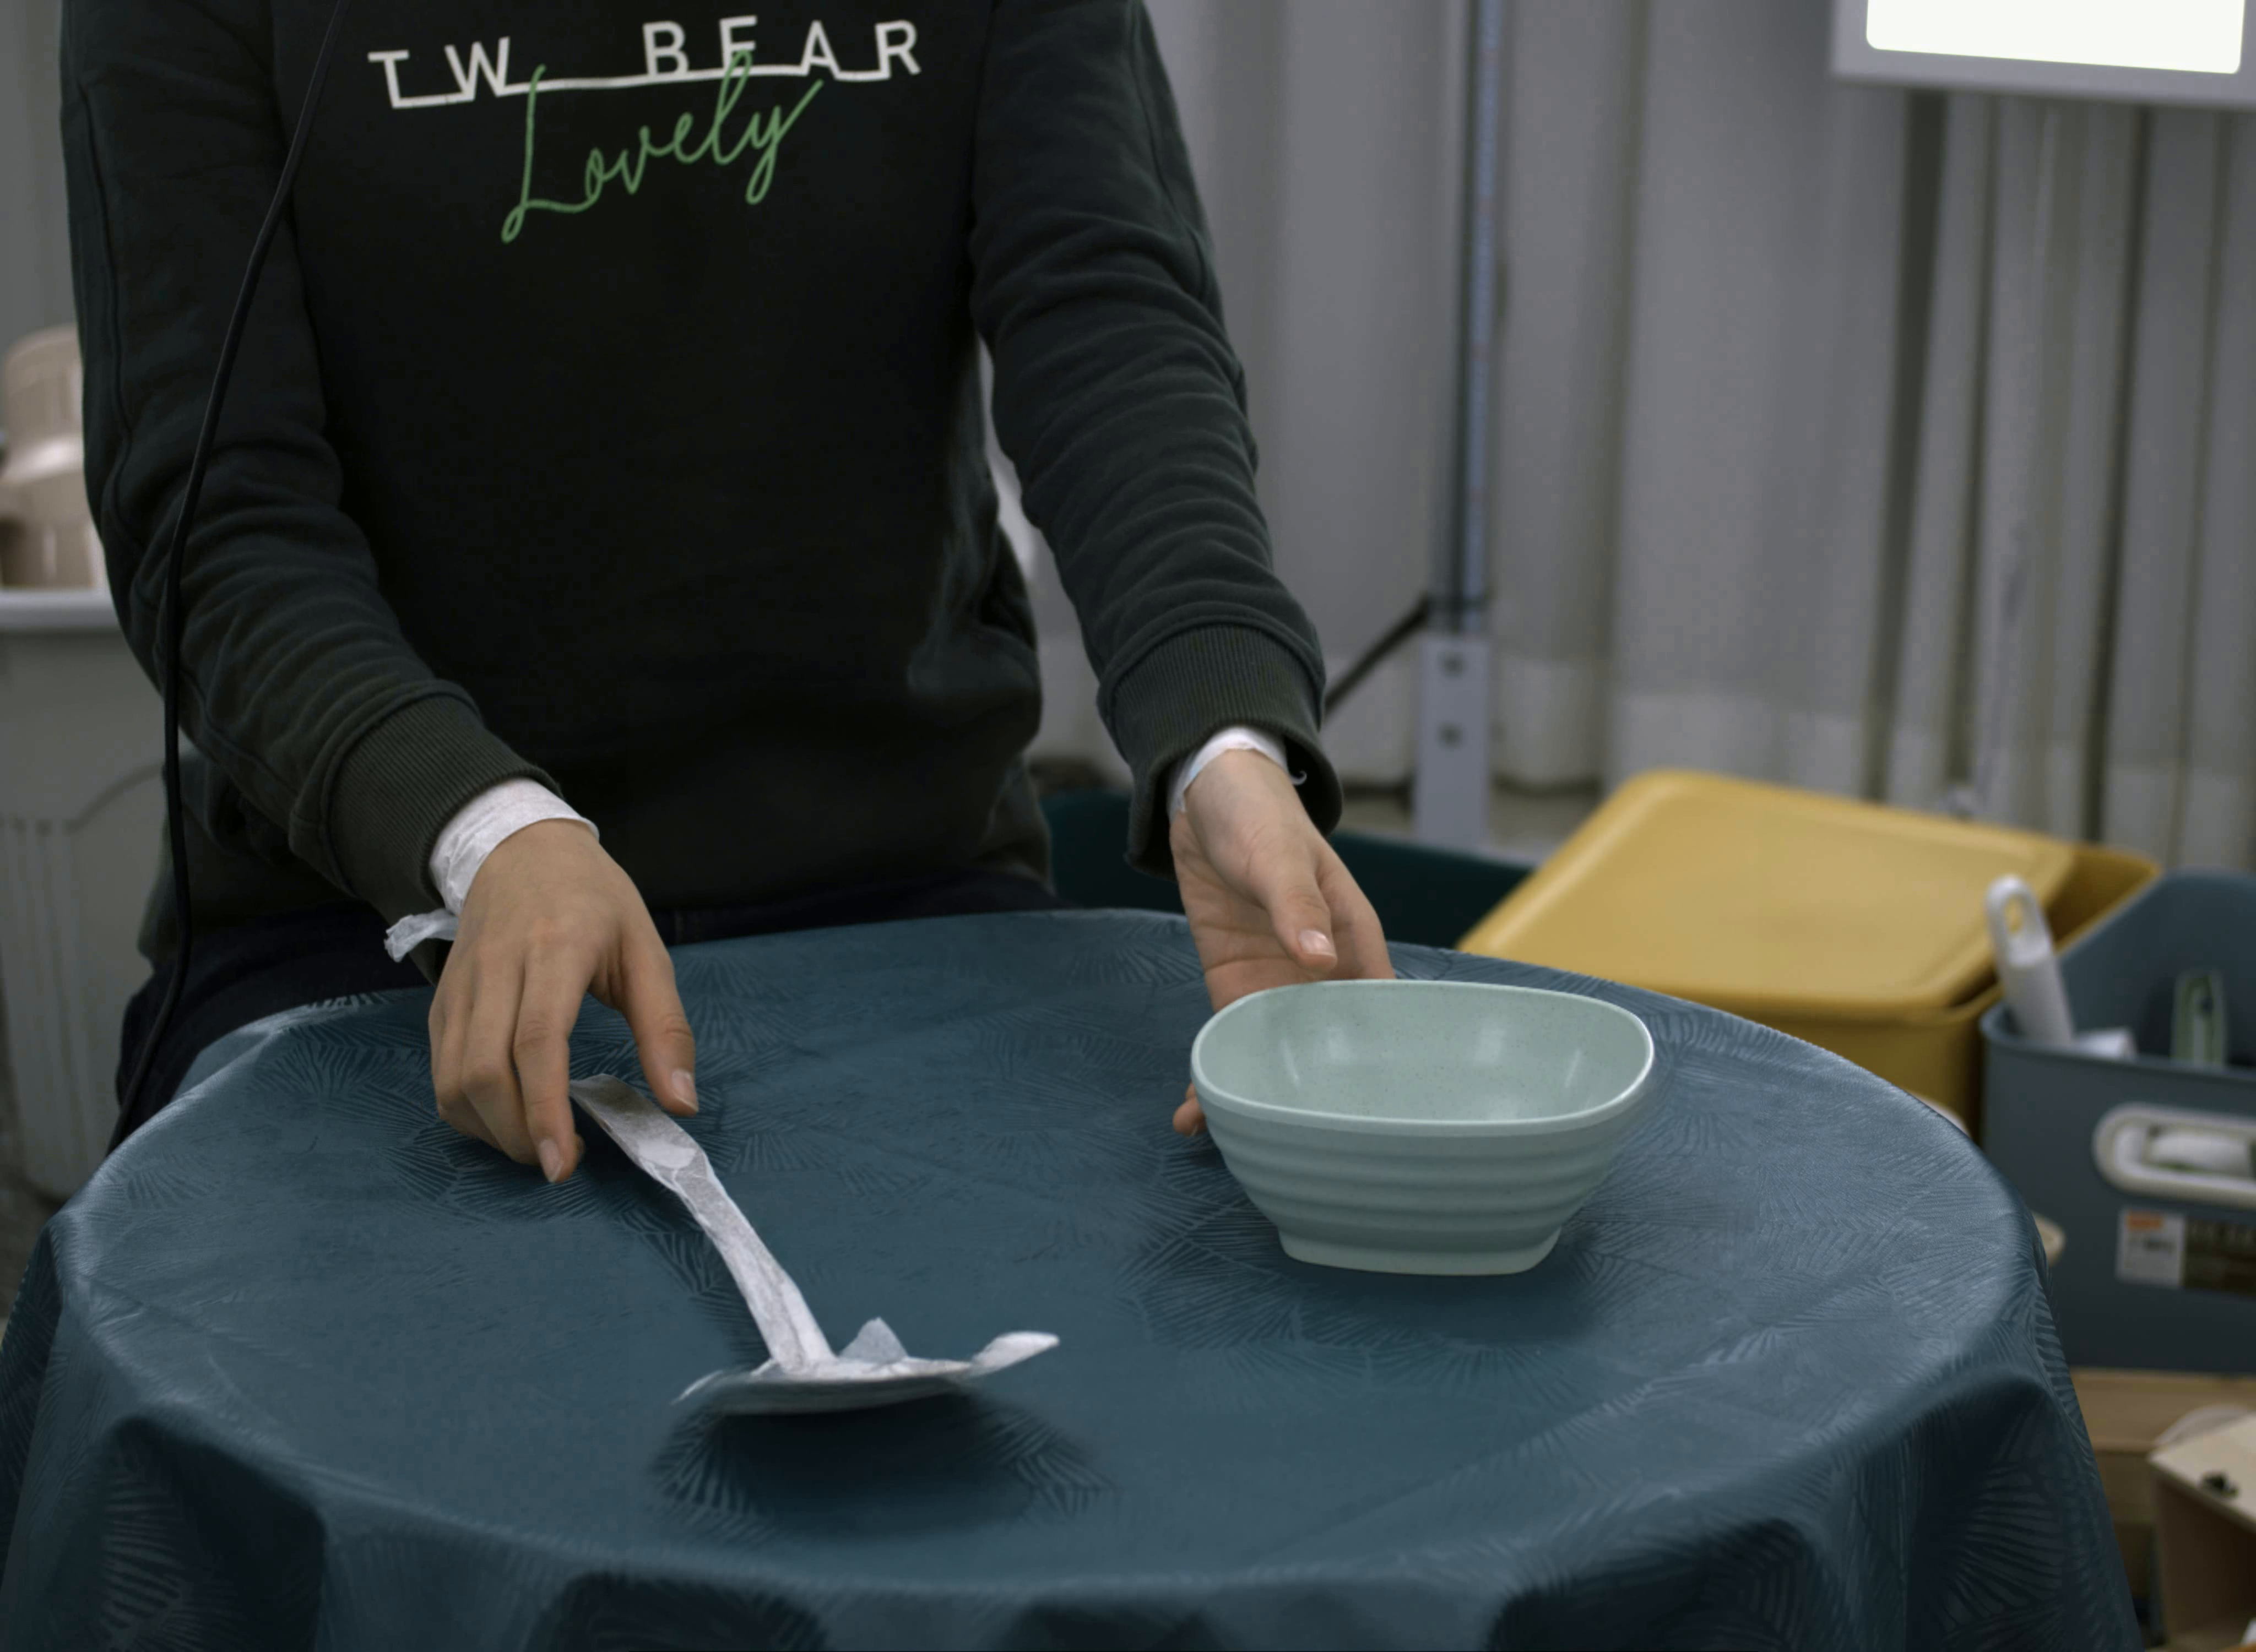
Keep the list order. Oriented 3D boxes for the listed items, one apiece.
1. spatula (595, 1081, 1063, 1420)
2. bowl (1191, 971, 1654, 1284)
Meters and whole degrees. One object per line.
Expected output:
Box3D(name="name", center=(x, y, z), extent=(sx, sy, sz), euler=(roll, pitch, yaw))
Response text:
Box3D(name="spatula", center=(-0.113, 0.115, 1.543), extent=(0.099, 0.045, 0.361), euler=(-6, 17, -17))
Box3D(name="bowl", center=(0.087, 0.095, 1.590), extent=(0.151, 0.059, 0.150), euler=(3, 18, 0))
